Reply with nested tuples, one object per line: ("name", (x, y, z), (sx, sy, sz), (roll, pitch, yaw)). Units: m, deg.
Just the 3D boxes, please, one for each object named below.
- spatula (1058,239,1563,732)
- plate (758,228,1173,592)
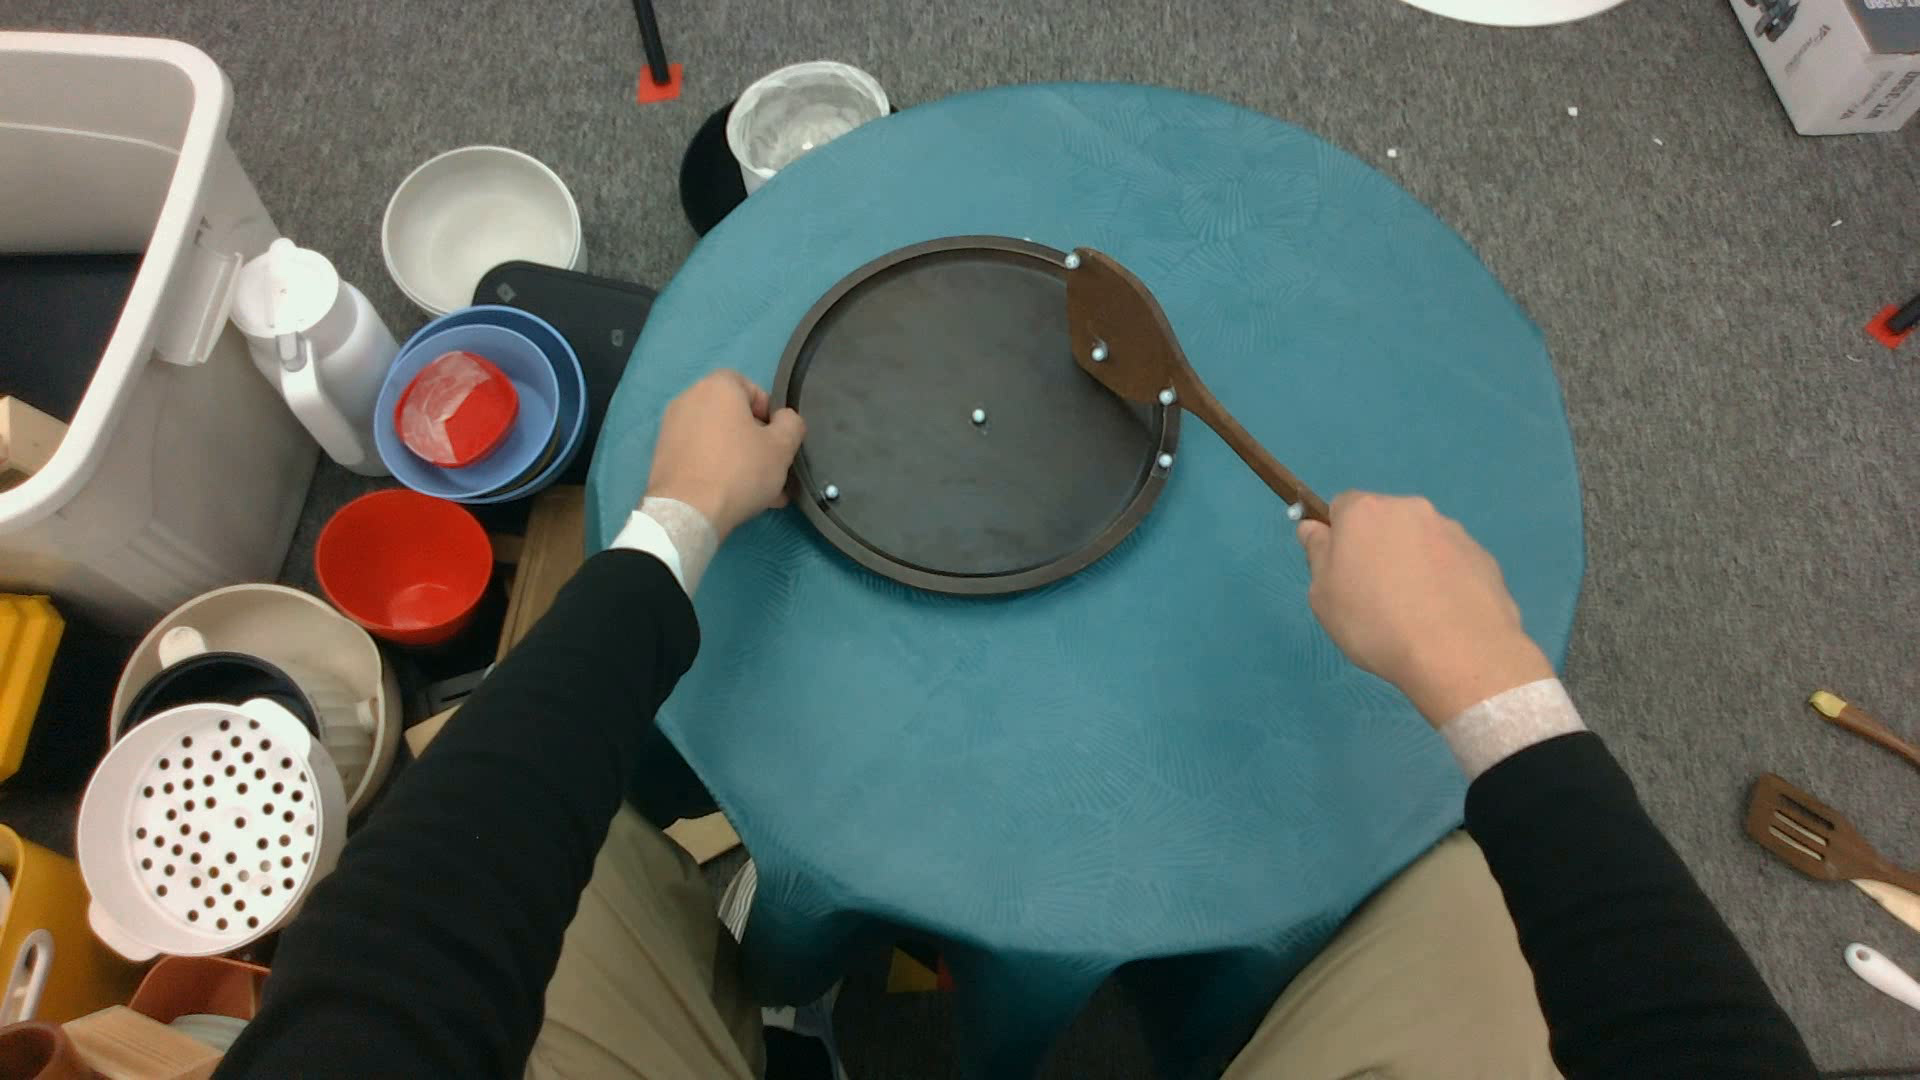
("spatula", (0.163, -0.036, 0.726), (0.016, 0.095, 0.386), (-27, 53, -17))
("plate", (0.003, -0.084, 0.847), (0.255, 0.029, 0.255), (1, 66, -2))
